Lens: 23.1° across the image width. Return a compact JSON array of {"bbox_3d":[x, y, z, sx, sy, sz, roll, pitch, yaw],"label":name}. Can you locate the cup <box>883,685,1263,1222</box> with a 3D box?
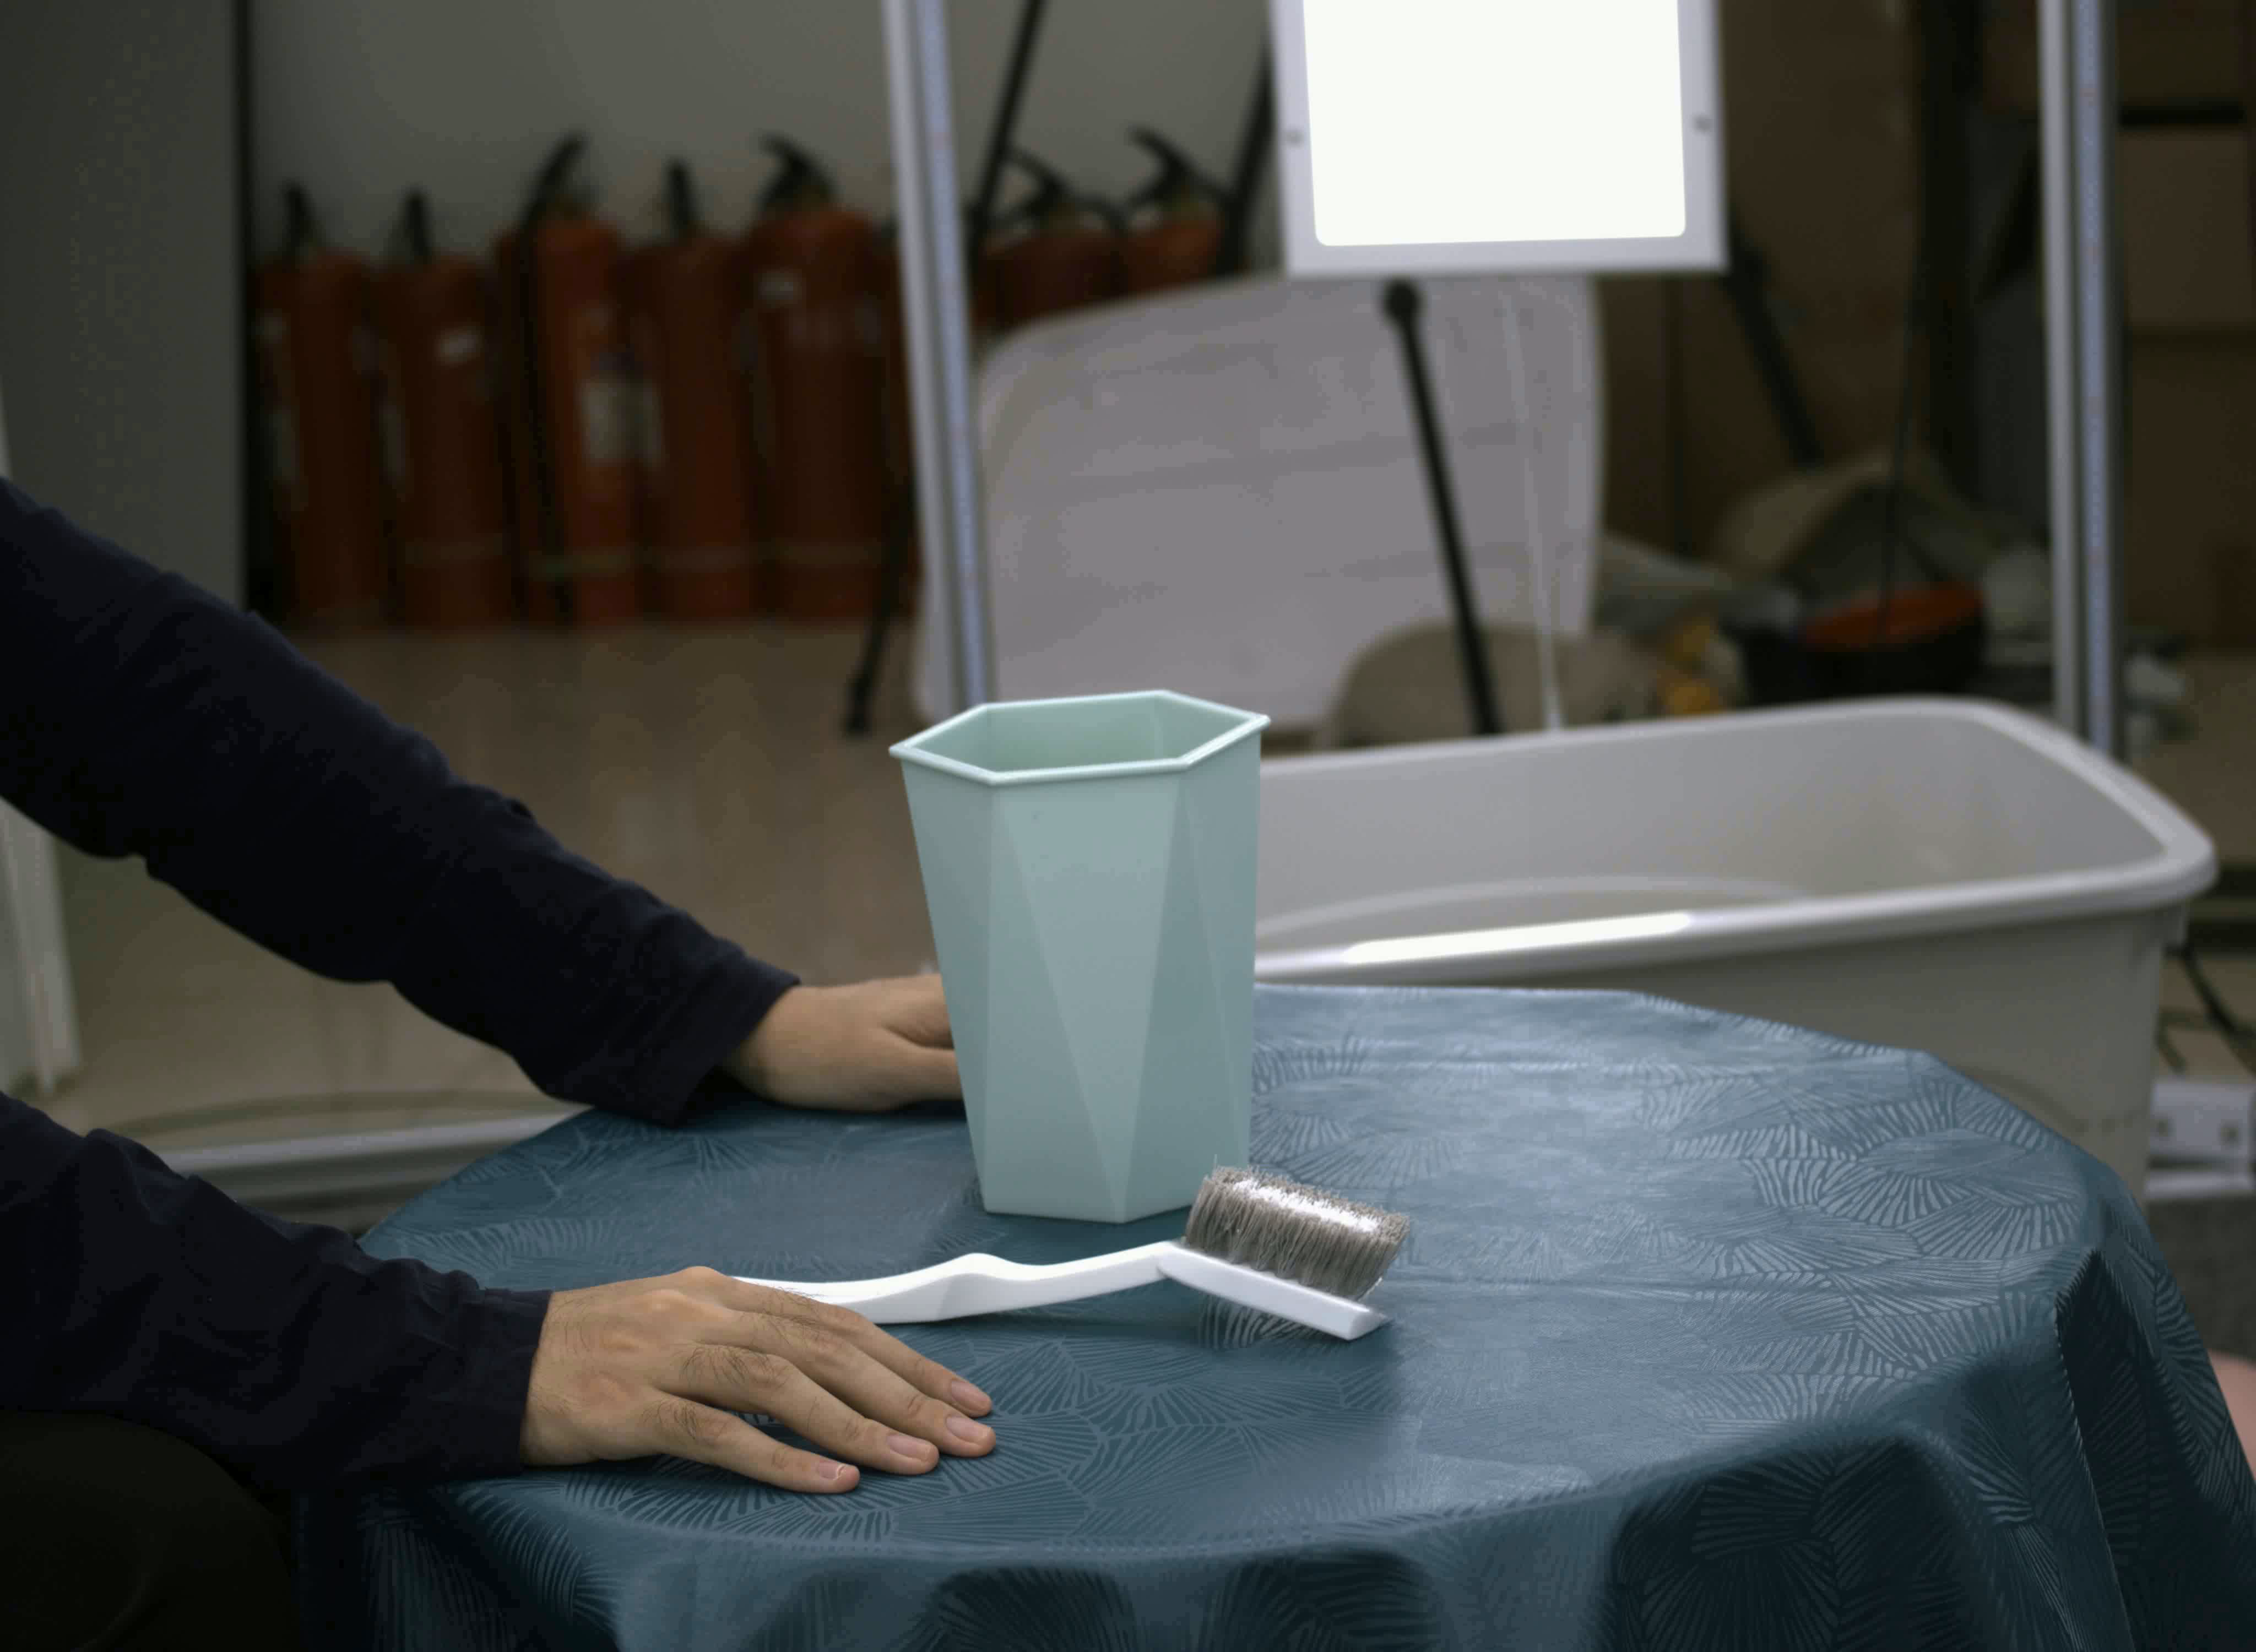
[{"bbox_3d":[-0.011,0.044,1.897,0.112,0.163,0.133,-15,16,-31],"label":"cup"}]

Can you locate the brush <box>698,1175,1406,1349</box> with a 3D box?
[{"bbox_3d":[-0.028,0.136,1.771,0.247,0.050,0.034,1,19,23],"label":"brush"}]
